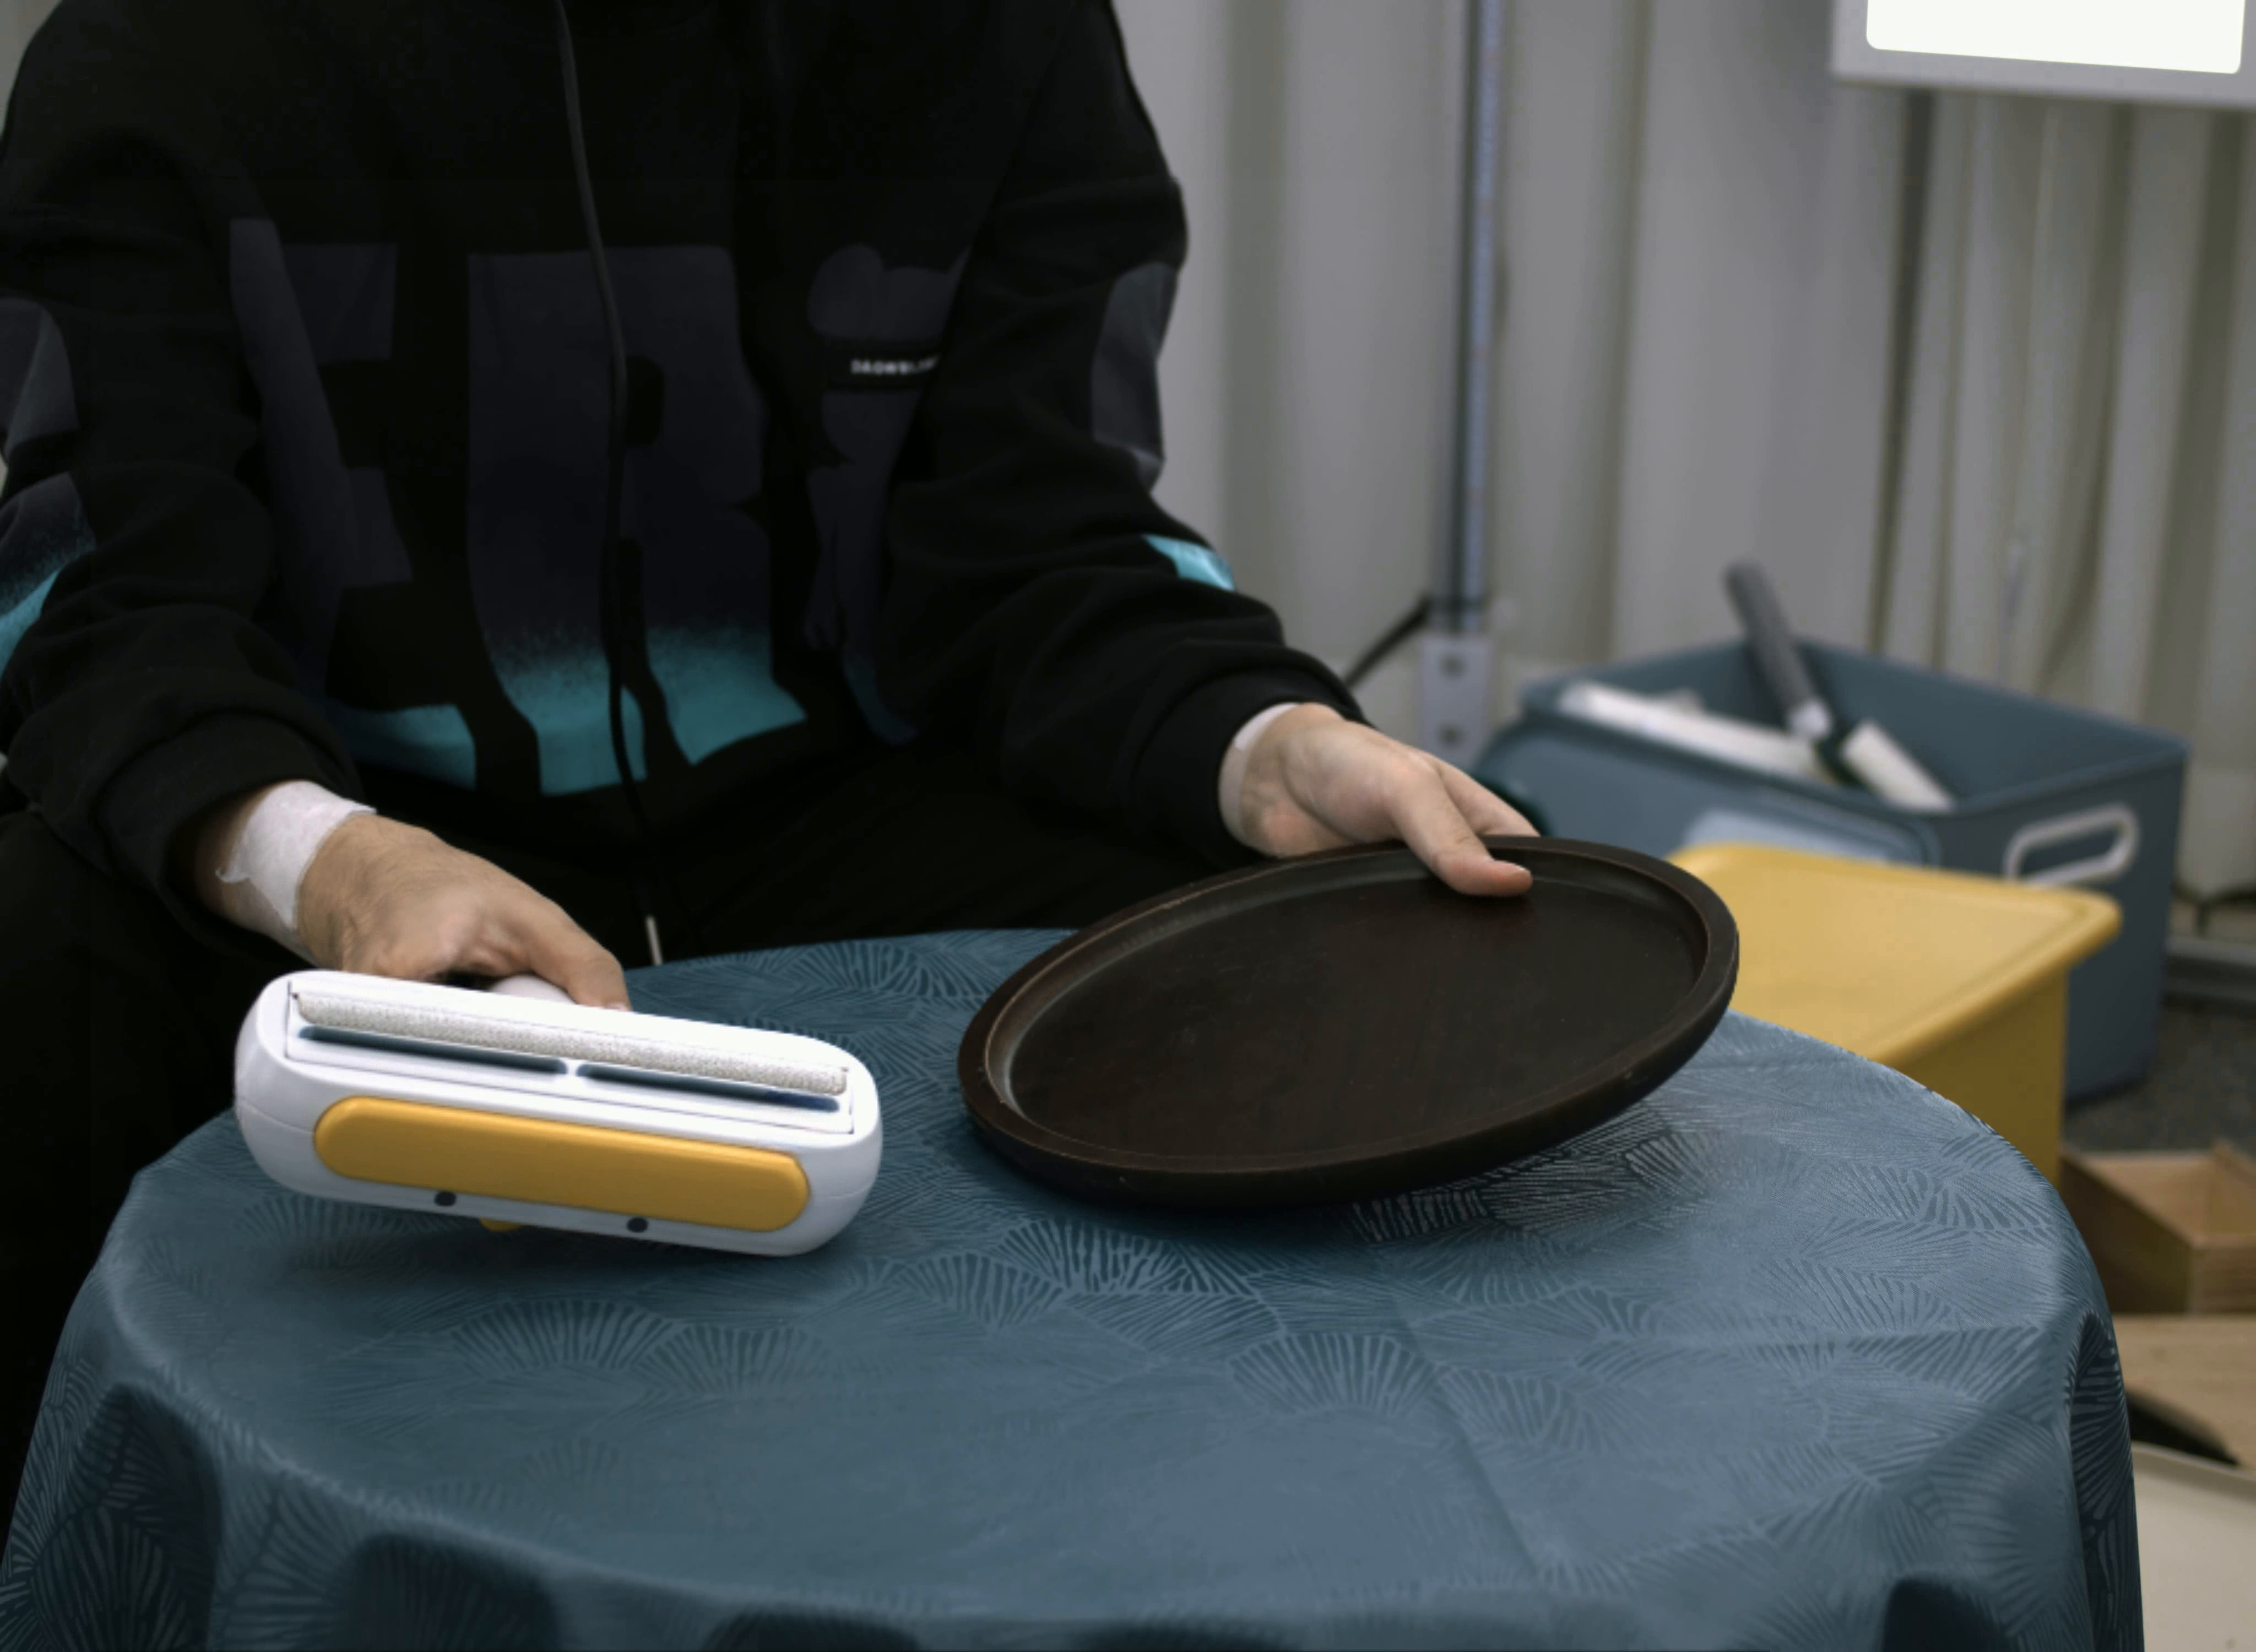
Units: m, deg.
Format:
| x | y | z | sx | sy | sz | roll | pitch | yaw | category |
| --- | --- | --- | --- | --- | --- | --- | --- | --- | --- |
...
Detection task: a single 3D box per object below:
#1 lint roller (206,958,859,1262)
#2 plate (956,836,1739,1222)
| x | y | z | sx | sy | sz | roll | pitch | yaw | category |
| --- | --- | --- | --- | --- | --- | --- | --- | --- | --- |
| -0.180 | 0.070 | 1.610 | 0.193 | 0.075 | 0.191 | 6 | 22 | -7 | lint roller |
| 0.070 | 0.062 | 1.675 | 0.254 | 0.029 | 0.253 | -10 | 20 | 4 | plate |
